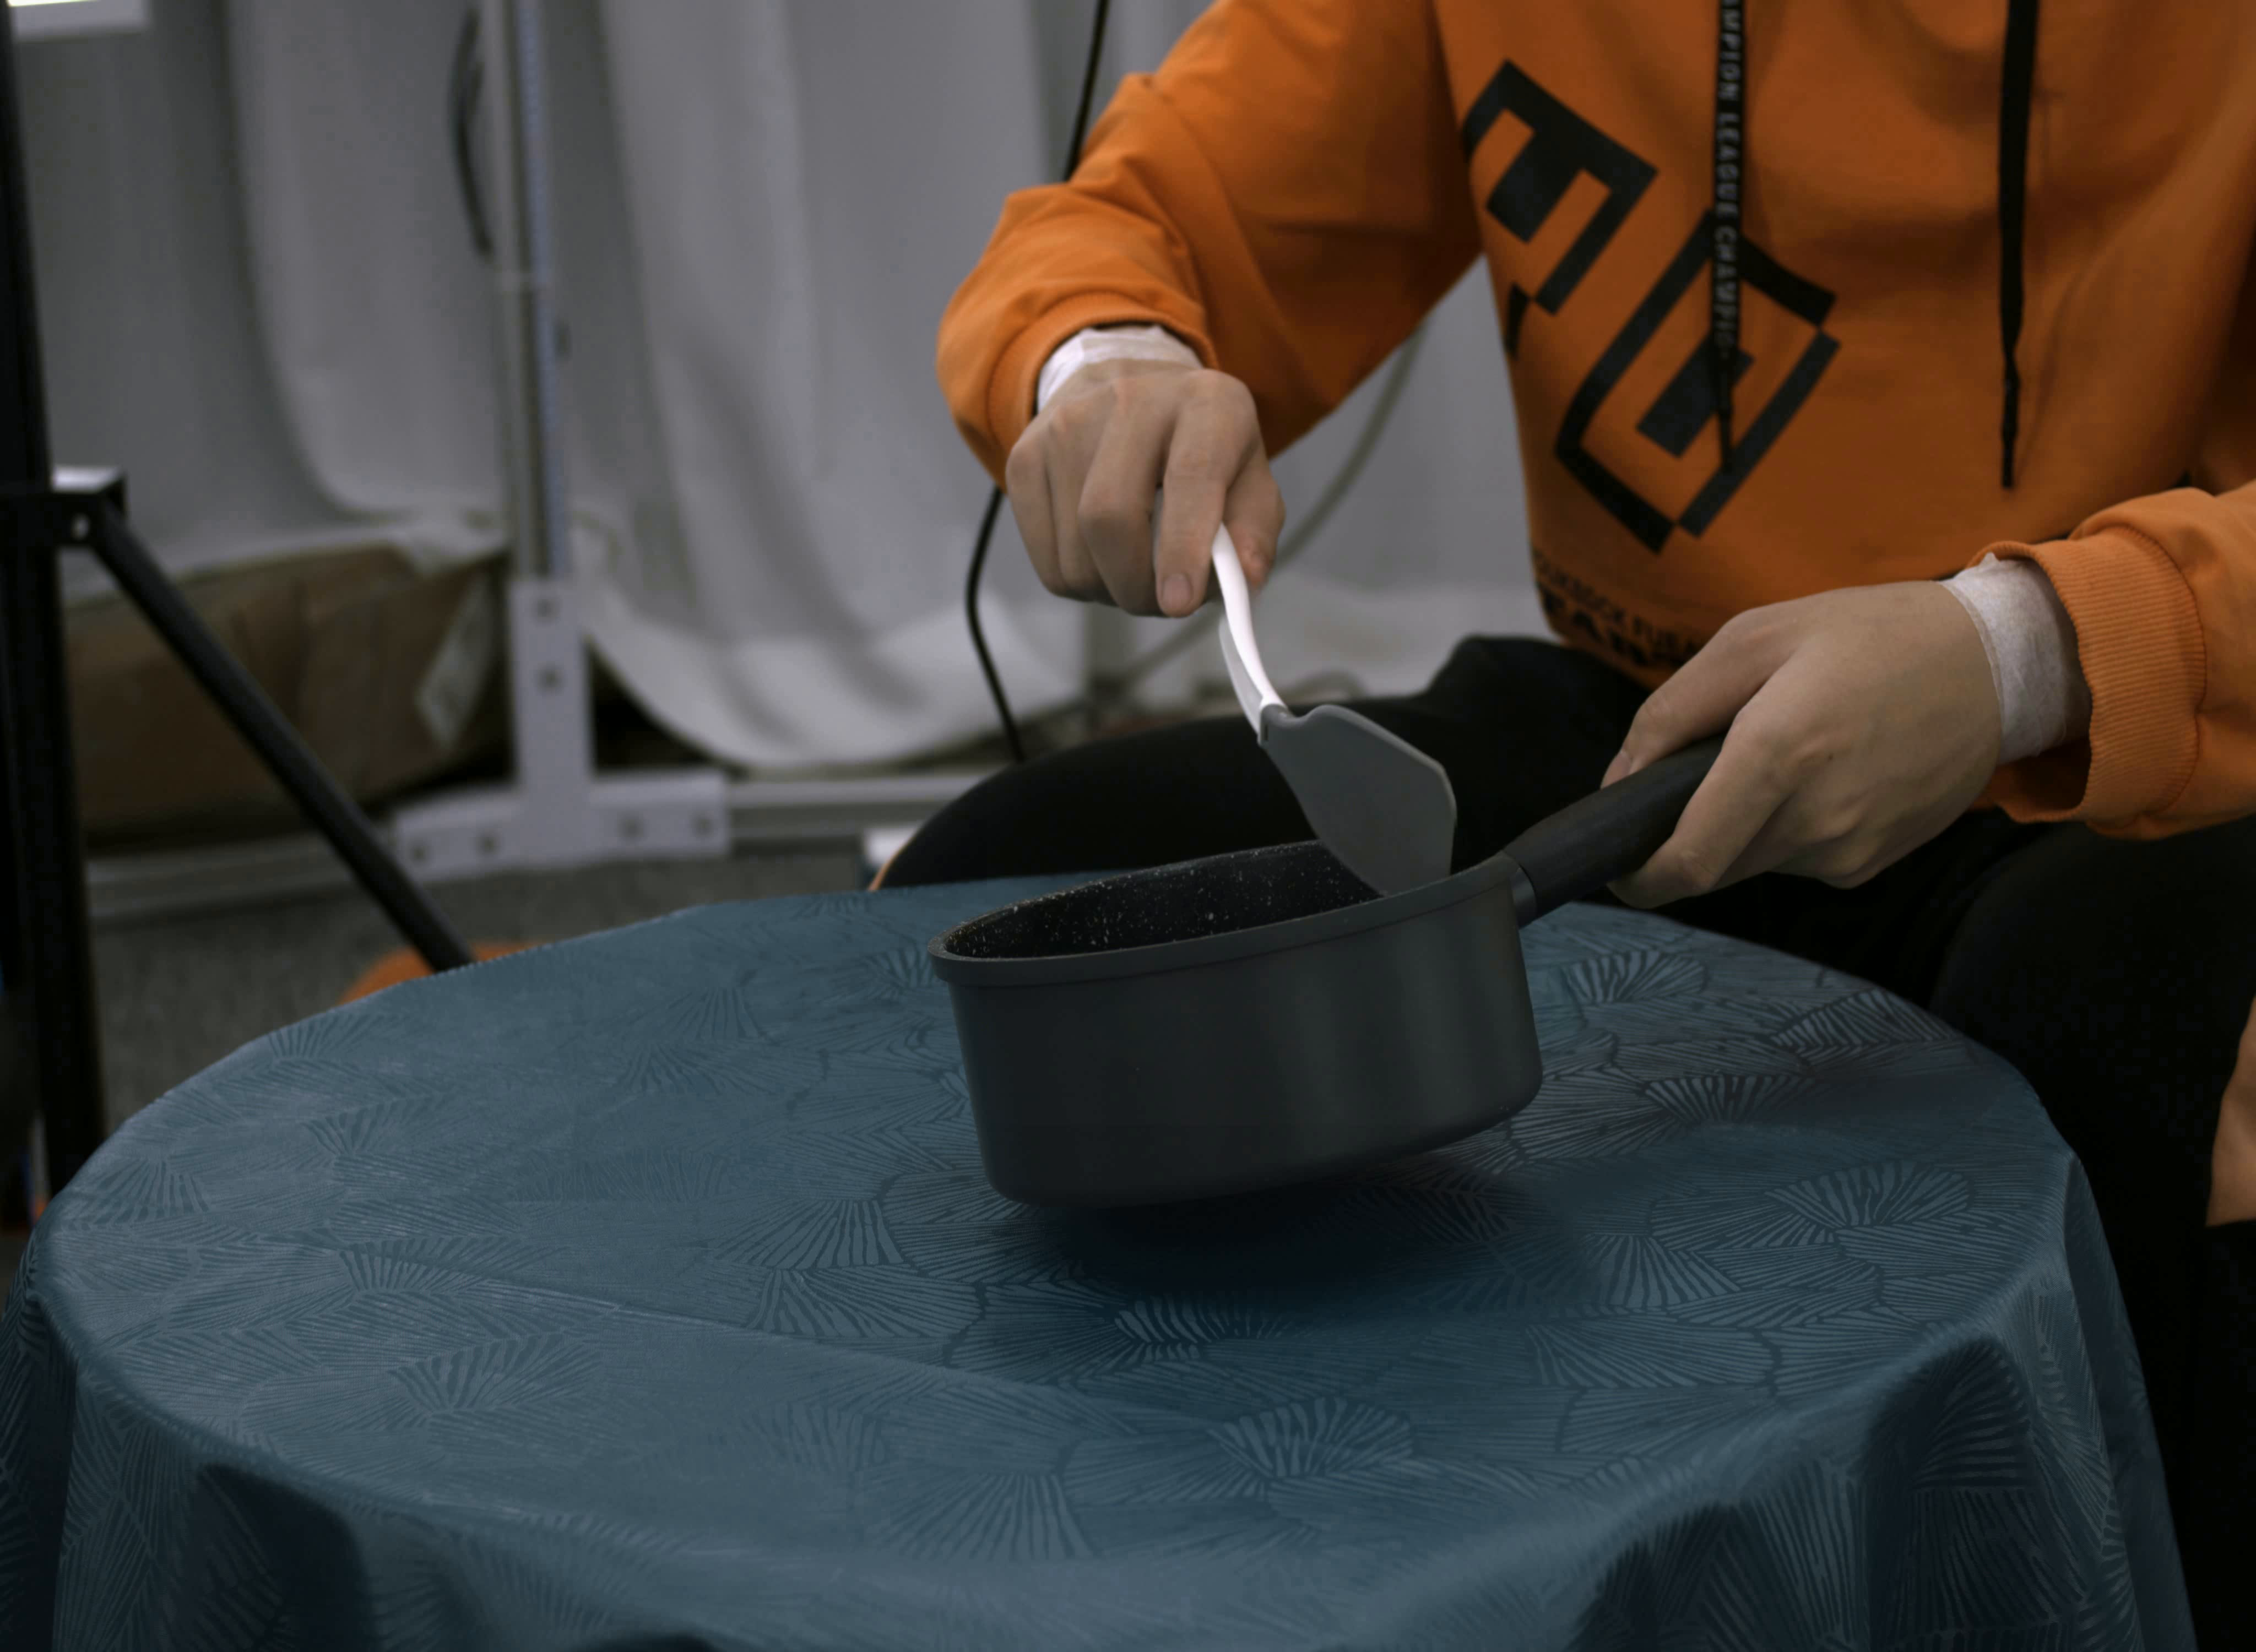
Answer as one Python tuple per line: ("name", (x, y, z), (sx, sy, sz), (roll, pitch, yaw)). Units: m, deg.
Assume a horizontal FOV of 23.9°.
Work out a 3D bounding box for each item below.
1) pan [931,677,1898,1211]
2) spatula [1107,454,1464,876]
("pan", (0.098, 0.035, 1.556), (0.322, 0.086, 0.175), (-16, 9, -29))
("spatula", (0.046, -0.048, 1.620), (0.031, 0.058, 0.292), (-2, 24, -16))
